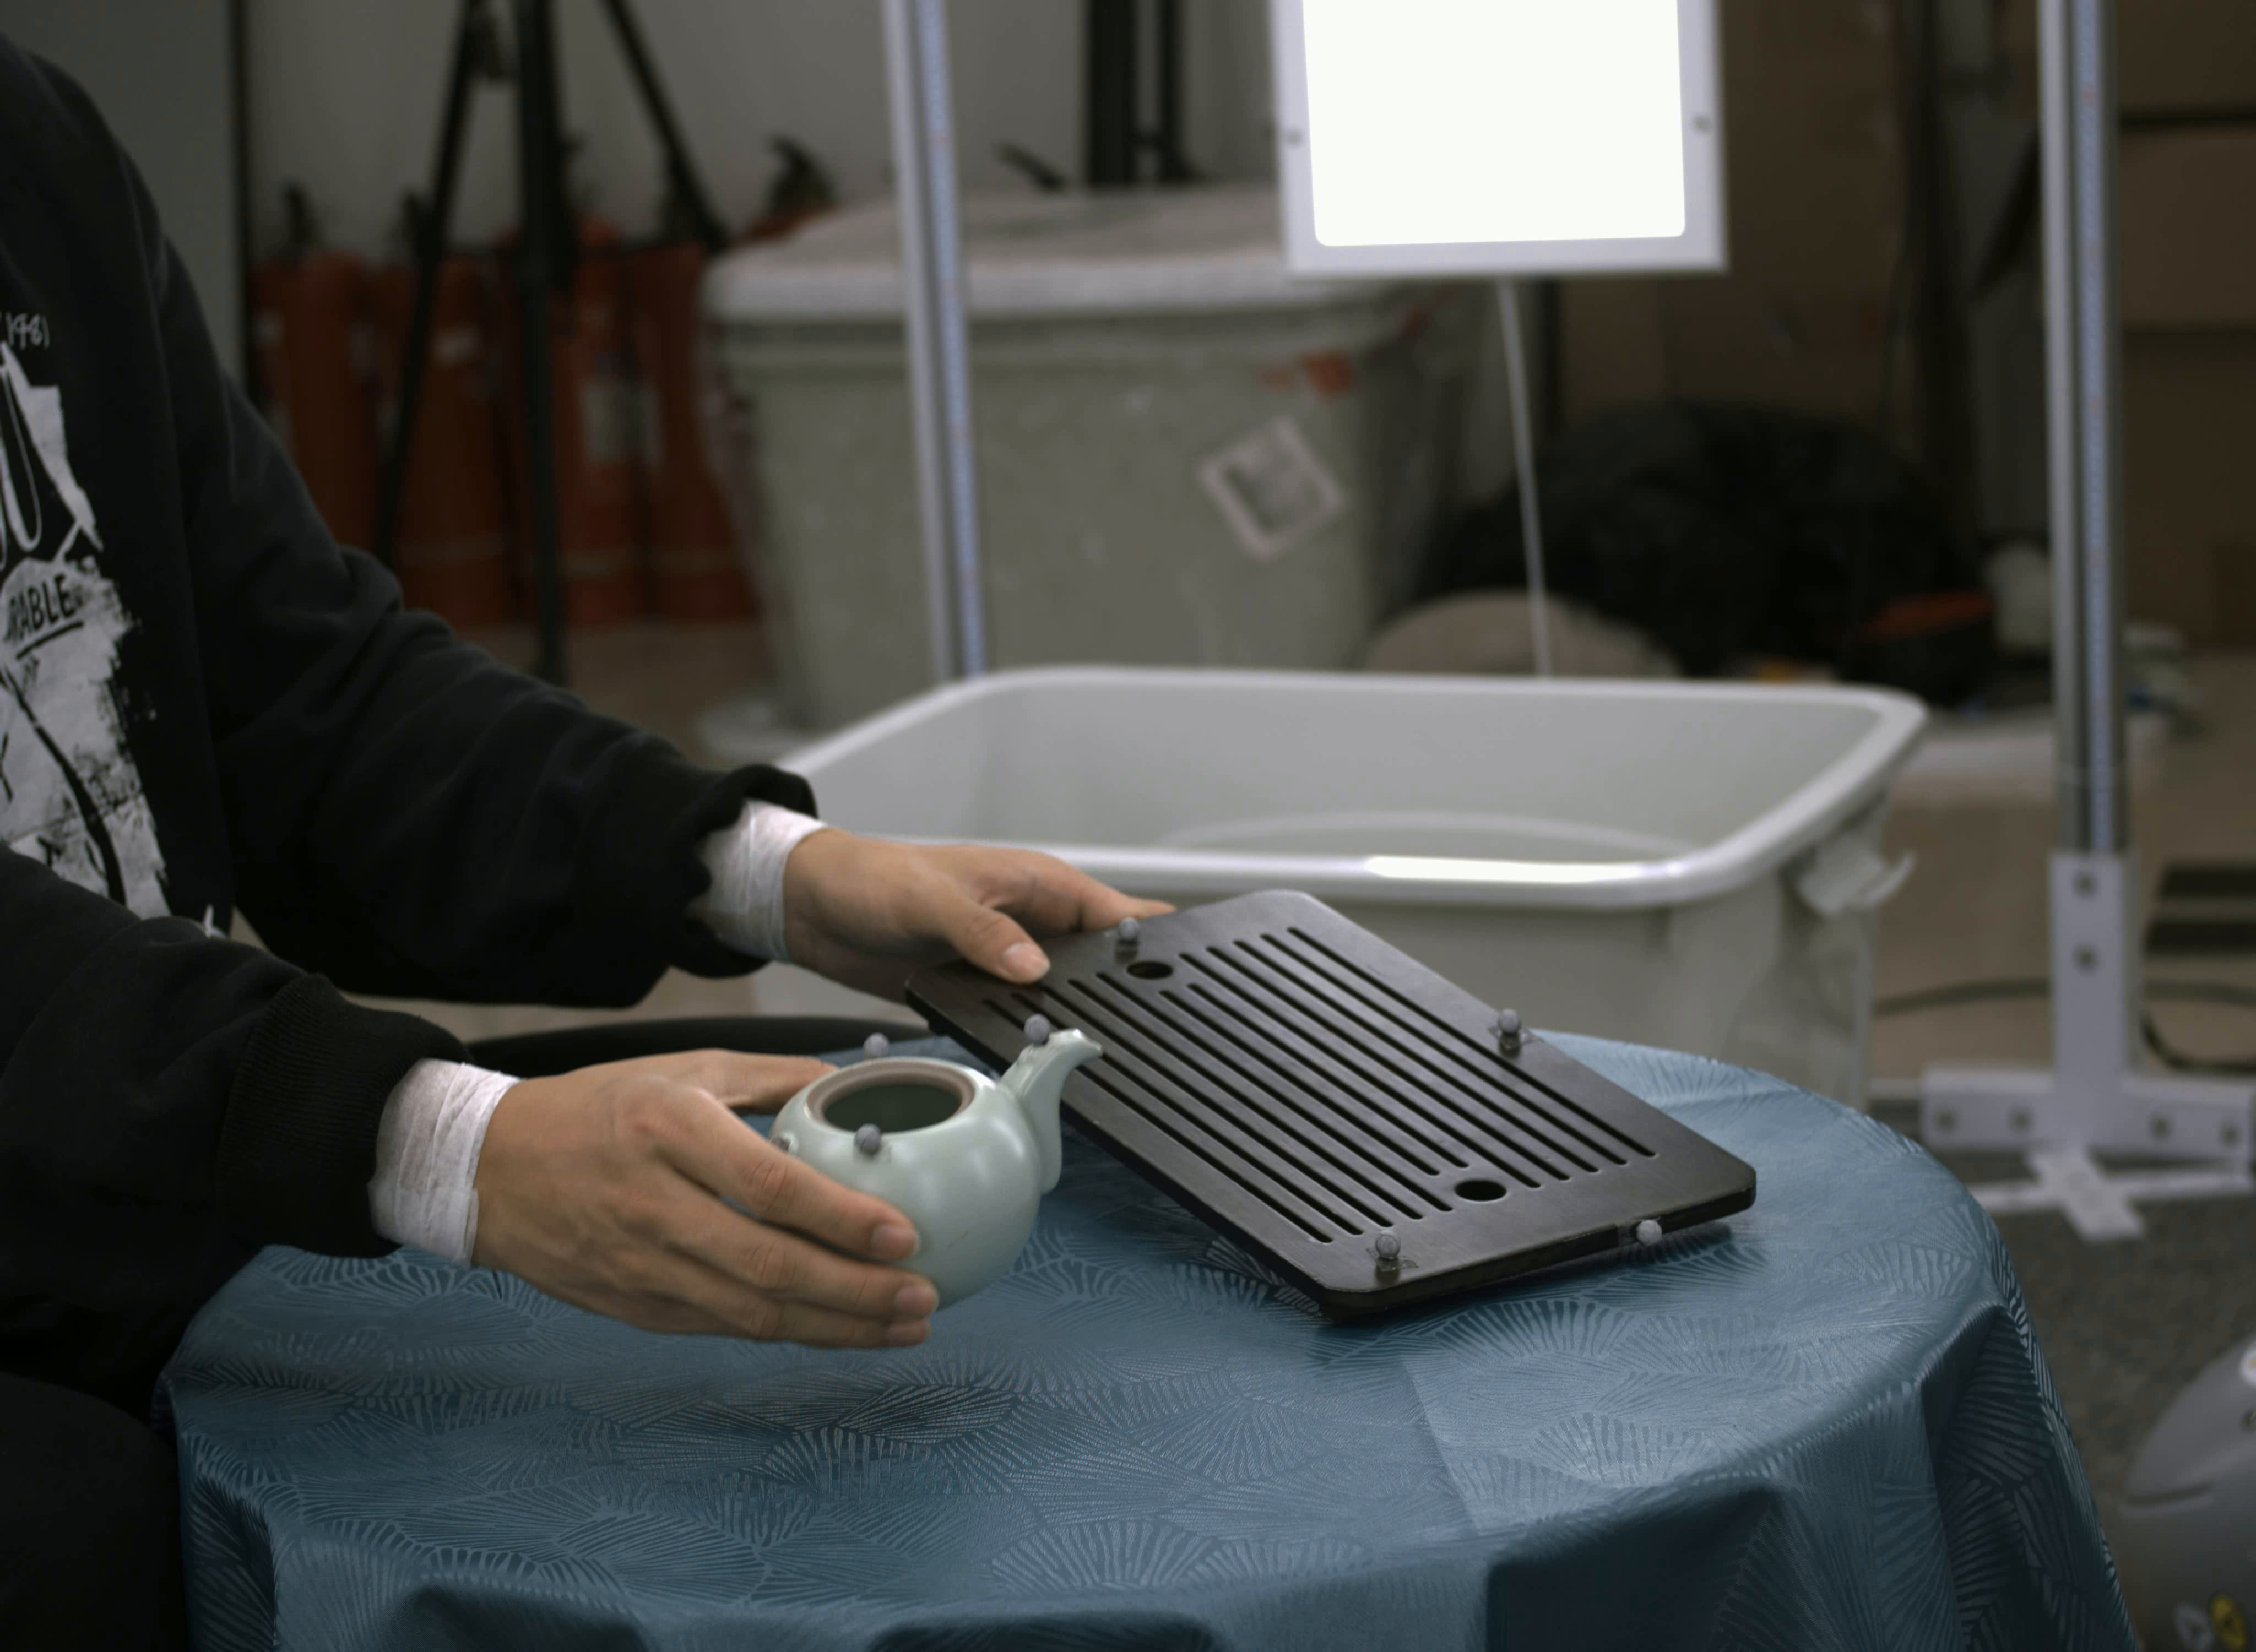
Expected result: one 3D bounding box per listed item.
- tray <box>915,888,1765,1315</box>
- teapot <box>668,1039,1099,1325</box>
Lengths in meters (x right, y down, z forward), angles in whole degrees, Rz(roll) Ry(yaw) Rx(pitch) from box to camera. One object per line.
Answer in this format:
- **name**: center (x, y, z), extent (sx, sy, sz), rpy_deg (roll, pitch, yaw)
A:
- **tray**: center (0.067, 0.091, 1.893), extent (0.166, 0.019, 0.311), rpy_deg (-13, 24, -26)
- **teapot**: center (-0.073, 0.112, 1.701), extent (0.141, 0.075, 0.089), rpy_deg (-11, 23, -20)
